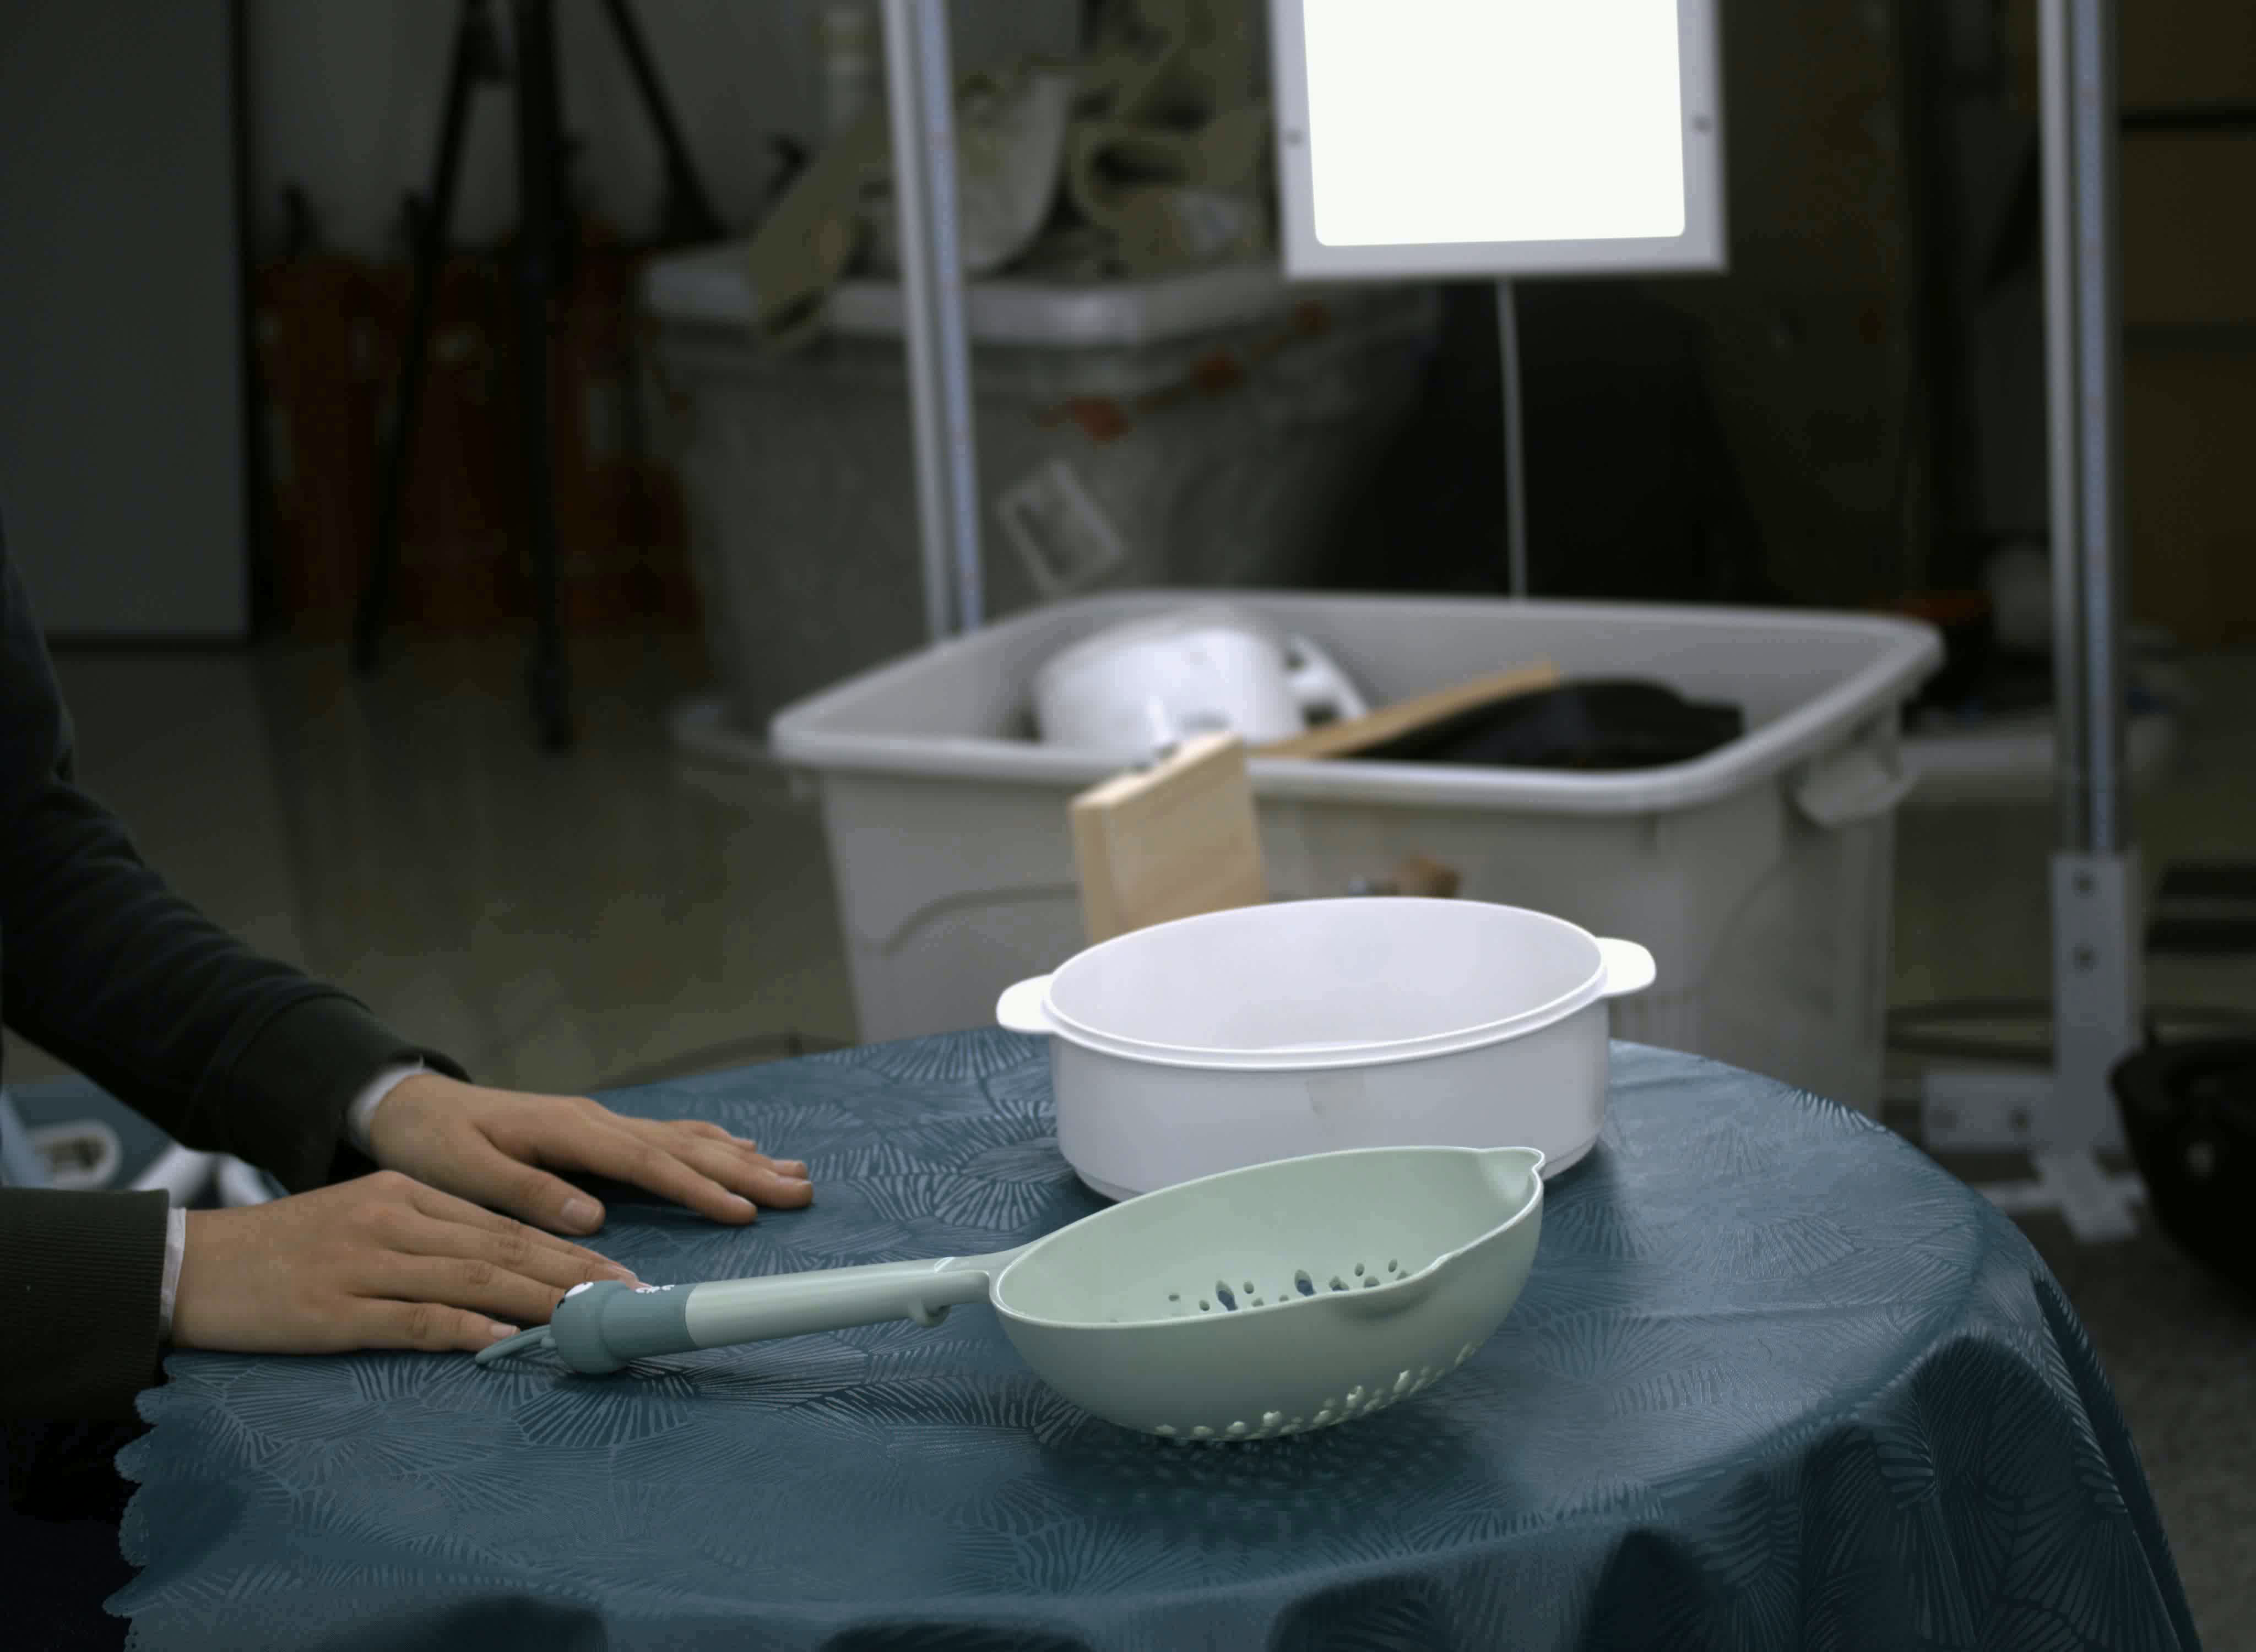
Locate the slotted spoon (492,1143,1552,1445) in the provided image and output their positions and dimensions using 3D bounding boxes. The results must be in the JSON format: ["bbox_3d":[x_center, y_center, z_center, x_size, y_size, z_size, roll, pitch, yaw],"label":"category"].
[{"bbox_3d":[-0.042,0.145,1.701,0.364,0.075,0.166,1,14,25],"label":"slotted spoon"}]

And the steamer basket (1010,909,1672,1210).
[{"bbox_3d":[0.076,0.084,1.910,0.230,0.069,0.201,-5,13,3],"label":"steamer basket"}]
